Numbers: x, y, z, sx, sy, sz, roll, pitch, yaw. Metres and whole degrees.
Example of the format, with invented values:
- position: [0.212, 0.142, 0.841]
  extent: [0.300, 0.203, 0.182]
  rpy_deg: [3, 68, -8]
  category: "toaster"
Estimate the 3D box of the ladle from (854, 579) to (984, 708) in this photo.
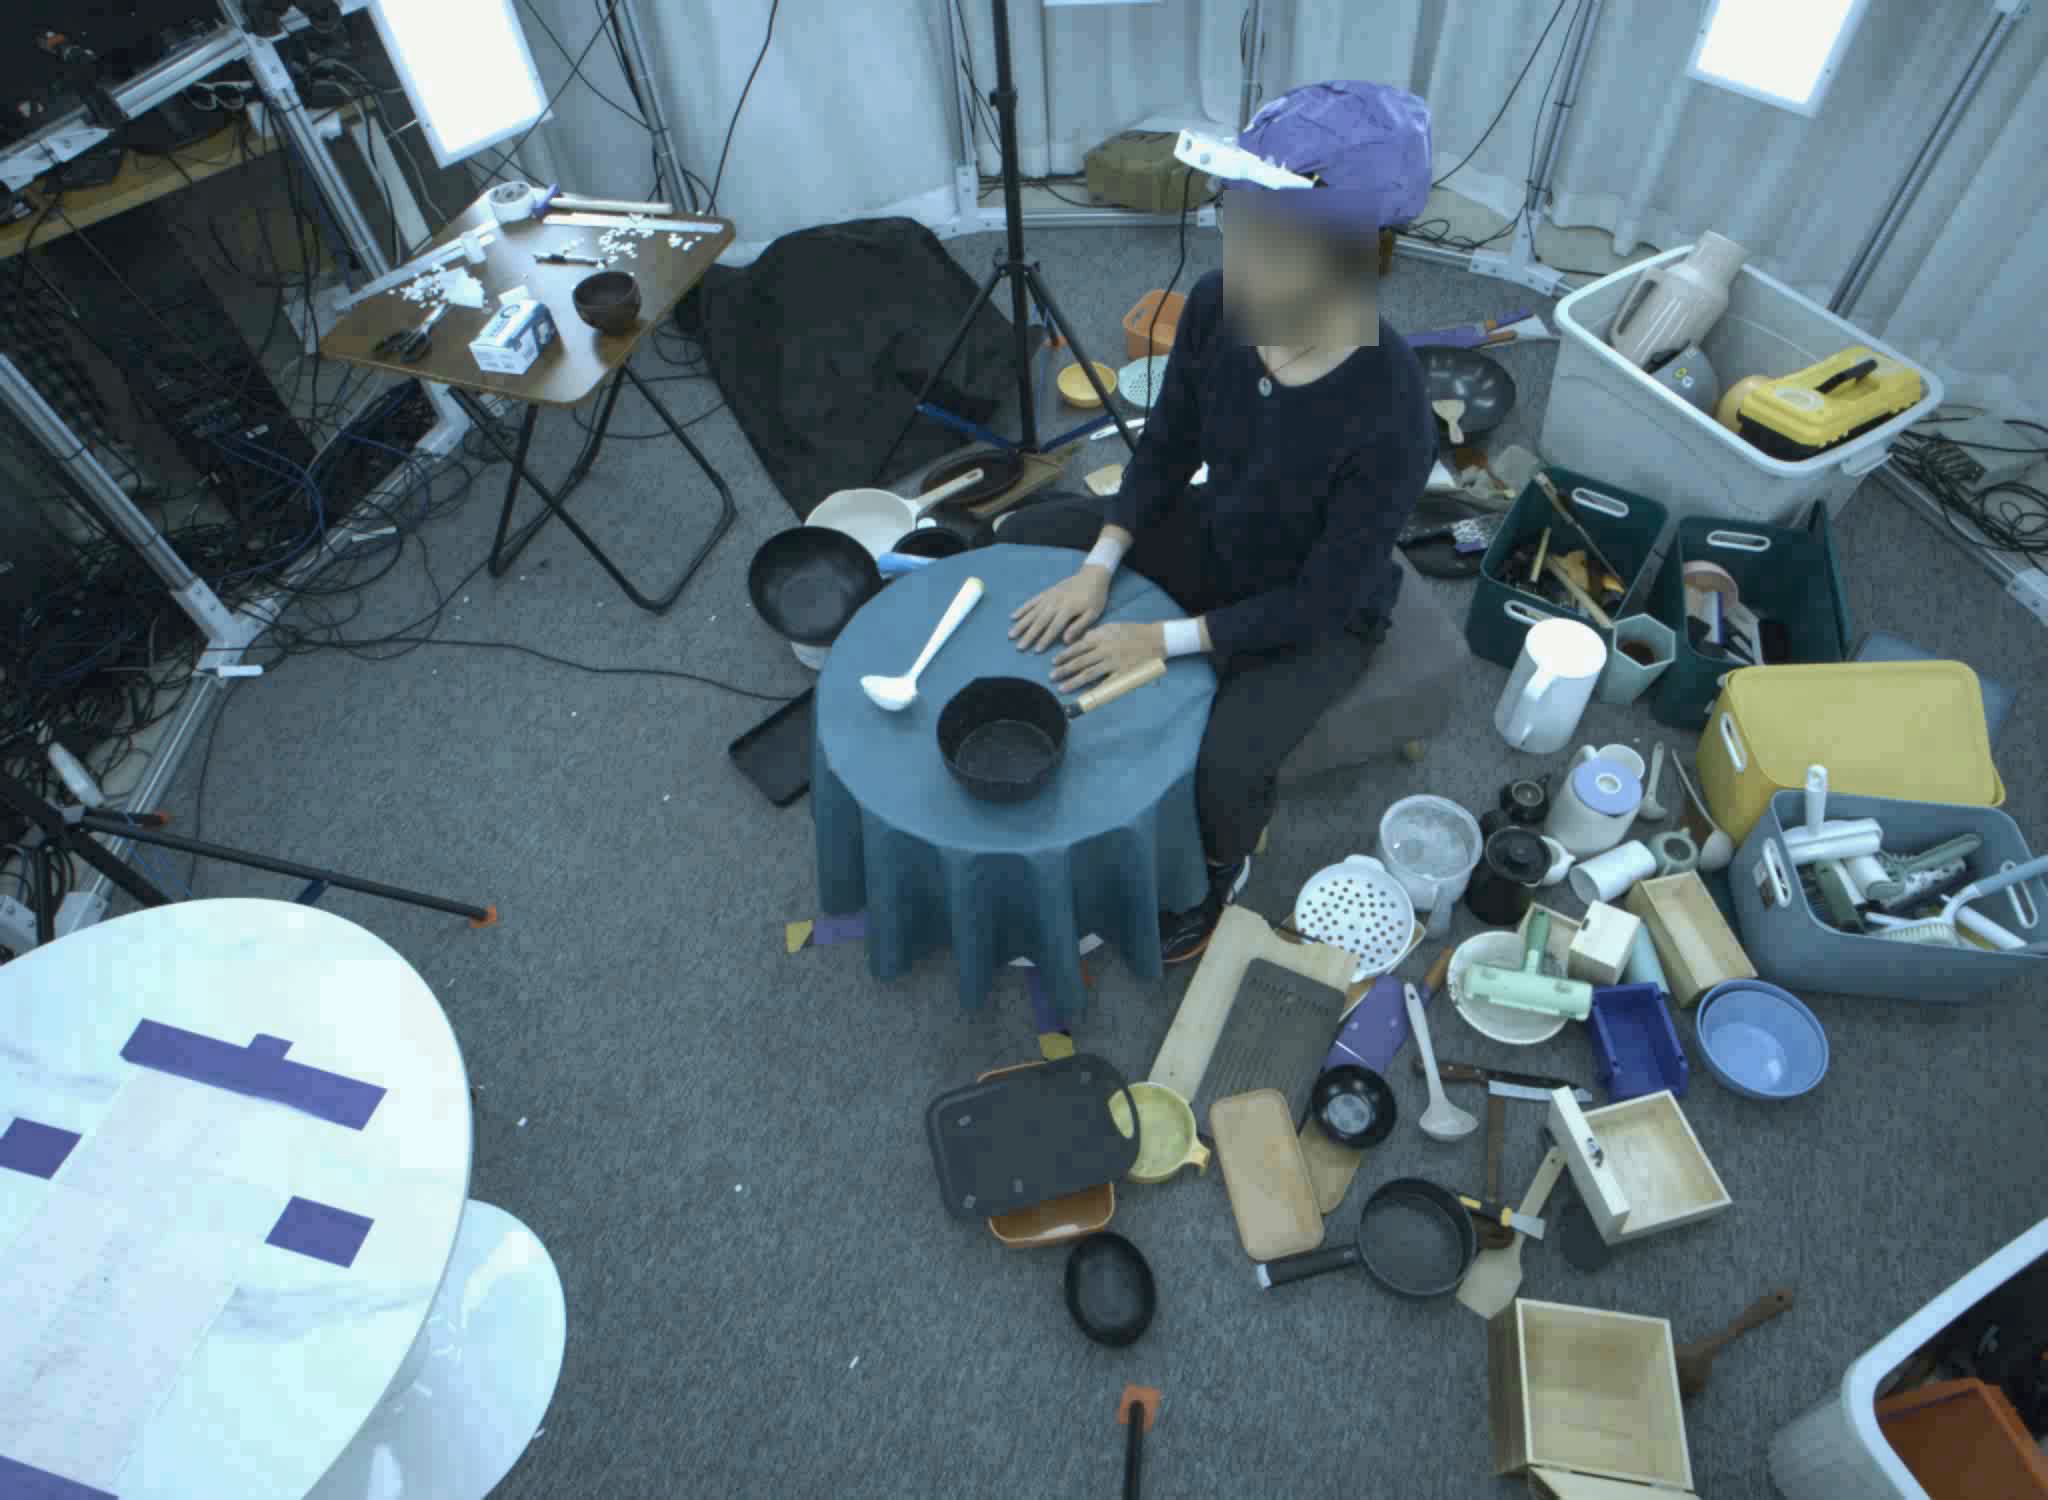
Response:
- position: [-0.151, -0.171, 1.874]
  extent: [0.089, 0.071, 0.294]
  rpy_deg: [21, 57, 22]
  category: "ladle"

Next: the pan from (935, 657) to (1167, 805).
- position: [0.044, -0.041, 1.748]
  extent: [0.345, 0.109, 0.203]
  rpy_deg: [-21, 55, -11]
  category: "pan"
